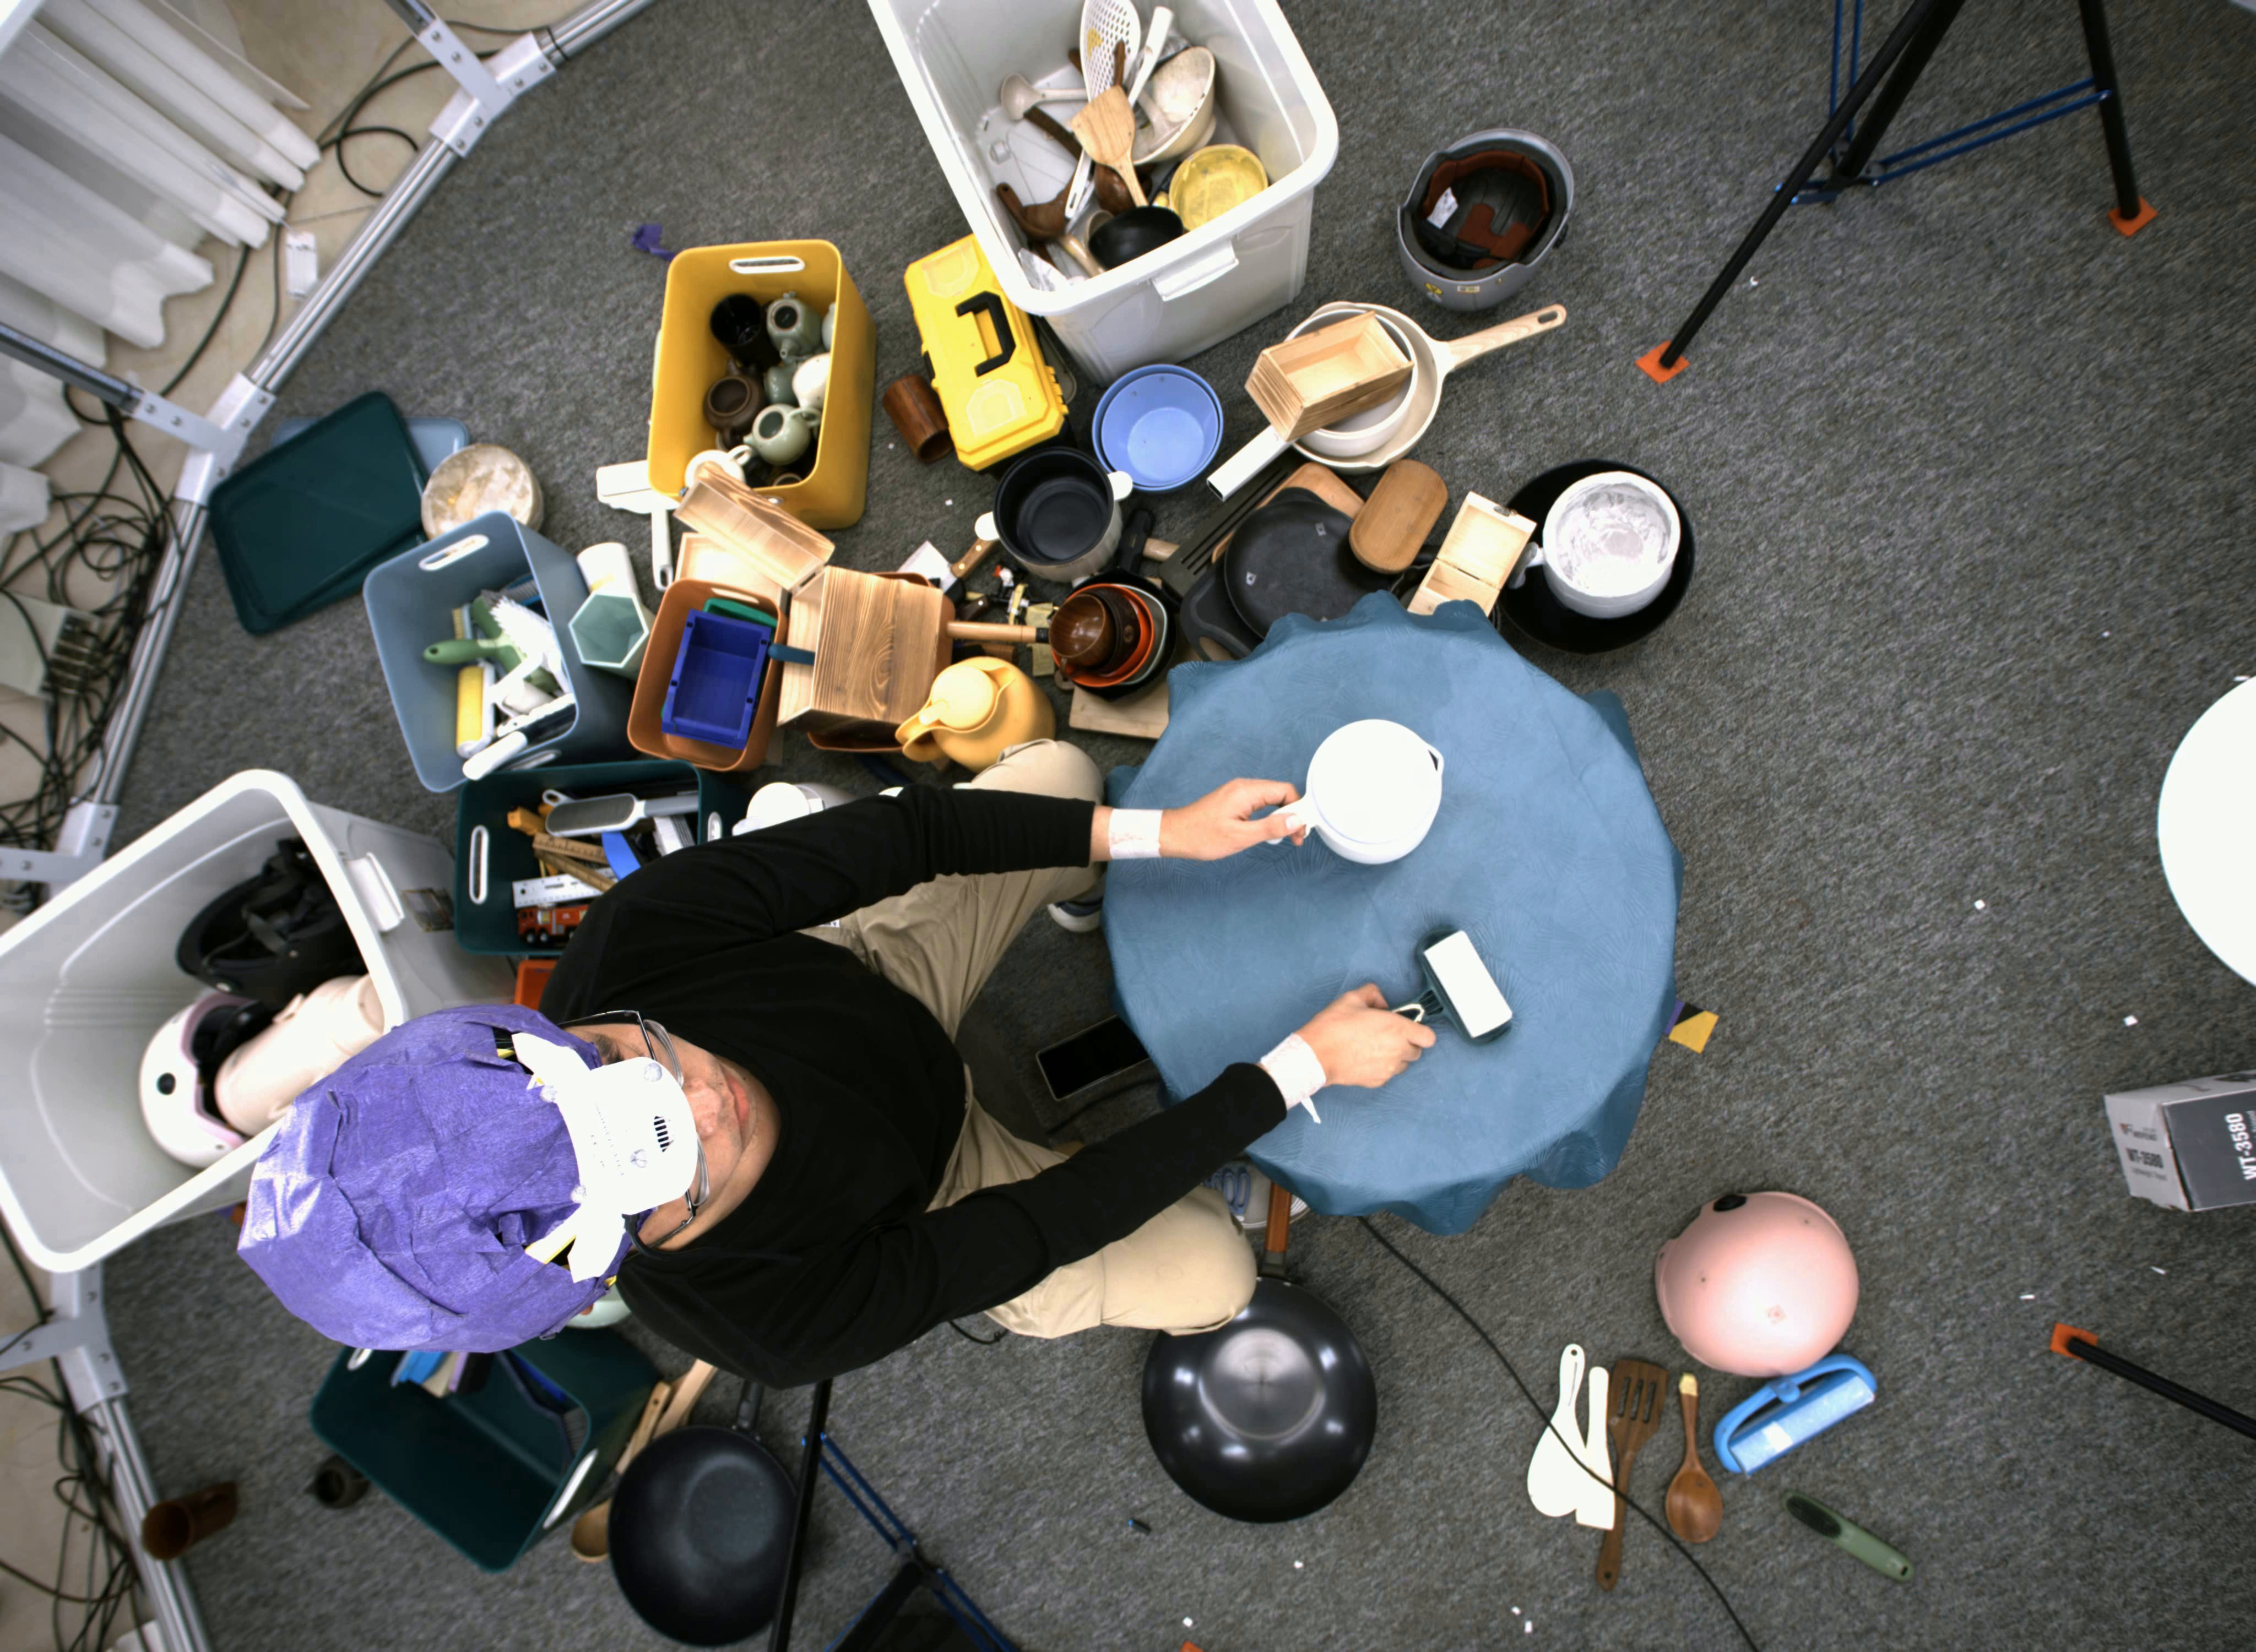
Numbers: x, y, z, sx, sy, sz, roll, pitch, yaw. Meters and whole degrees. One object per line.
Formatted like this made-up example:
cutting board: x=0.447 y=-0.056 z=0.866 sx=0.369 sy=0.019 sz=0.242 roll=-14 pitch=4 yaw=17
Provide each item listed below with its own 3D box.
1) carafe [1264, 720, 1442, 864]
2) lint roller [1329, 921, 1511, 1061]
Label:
carafe: x=0.224 y=-0.024 z=1.387 sx=0.192 sy=0.182 sz=0.131 roll=-23 pitch=81 yaw=10
lint roller: x=0.290 y=0.193 z=1.421 sx=0.181 sy=0.048 sz=0.133 roll=-27 pitch=82 yaw=5
